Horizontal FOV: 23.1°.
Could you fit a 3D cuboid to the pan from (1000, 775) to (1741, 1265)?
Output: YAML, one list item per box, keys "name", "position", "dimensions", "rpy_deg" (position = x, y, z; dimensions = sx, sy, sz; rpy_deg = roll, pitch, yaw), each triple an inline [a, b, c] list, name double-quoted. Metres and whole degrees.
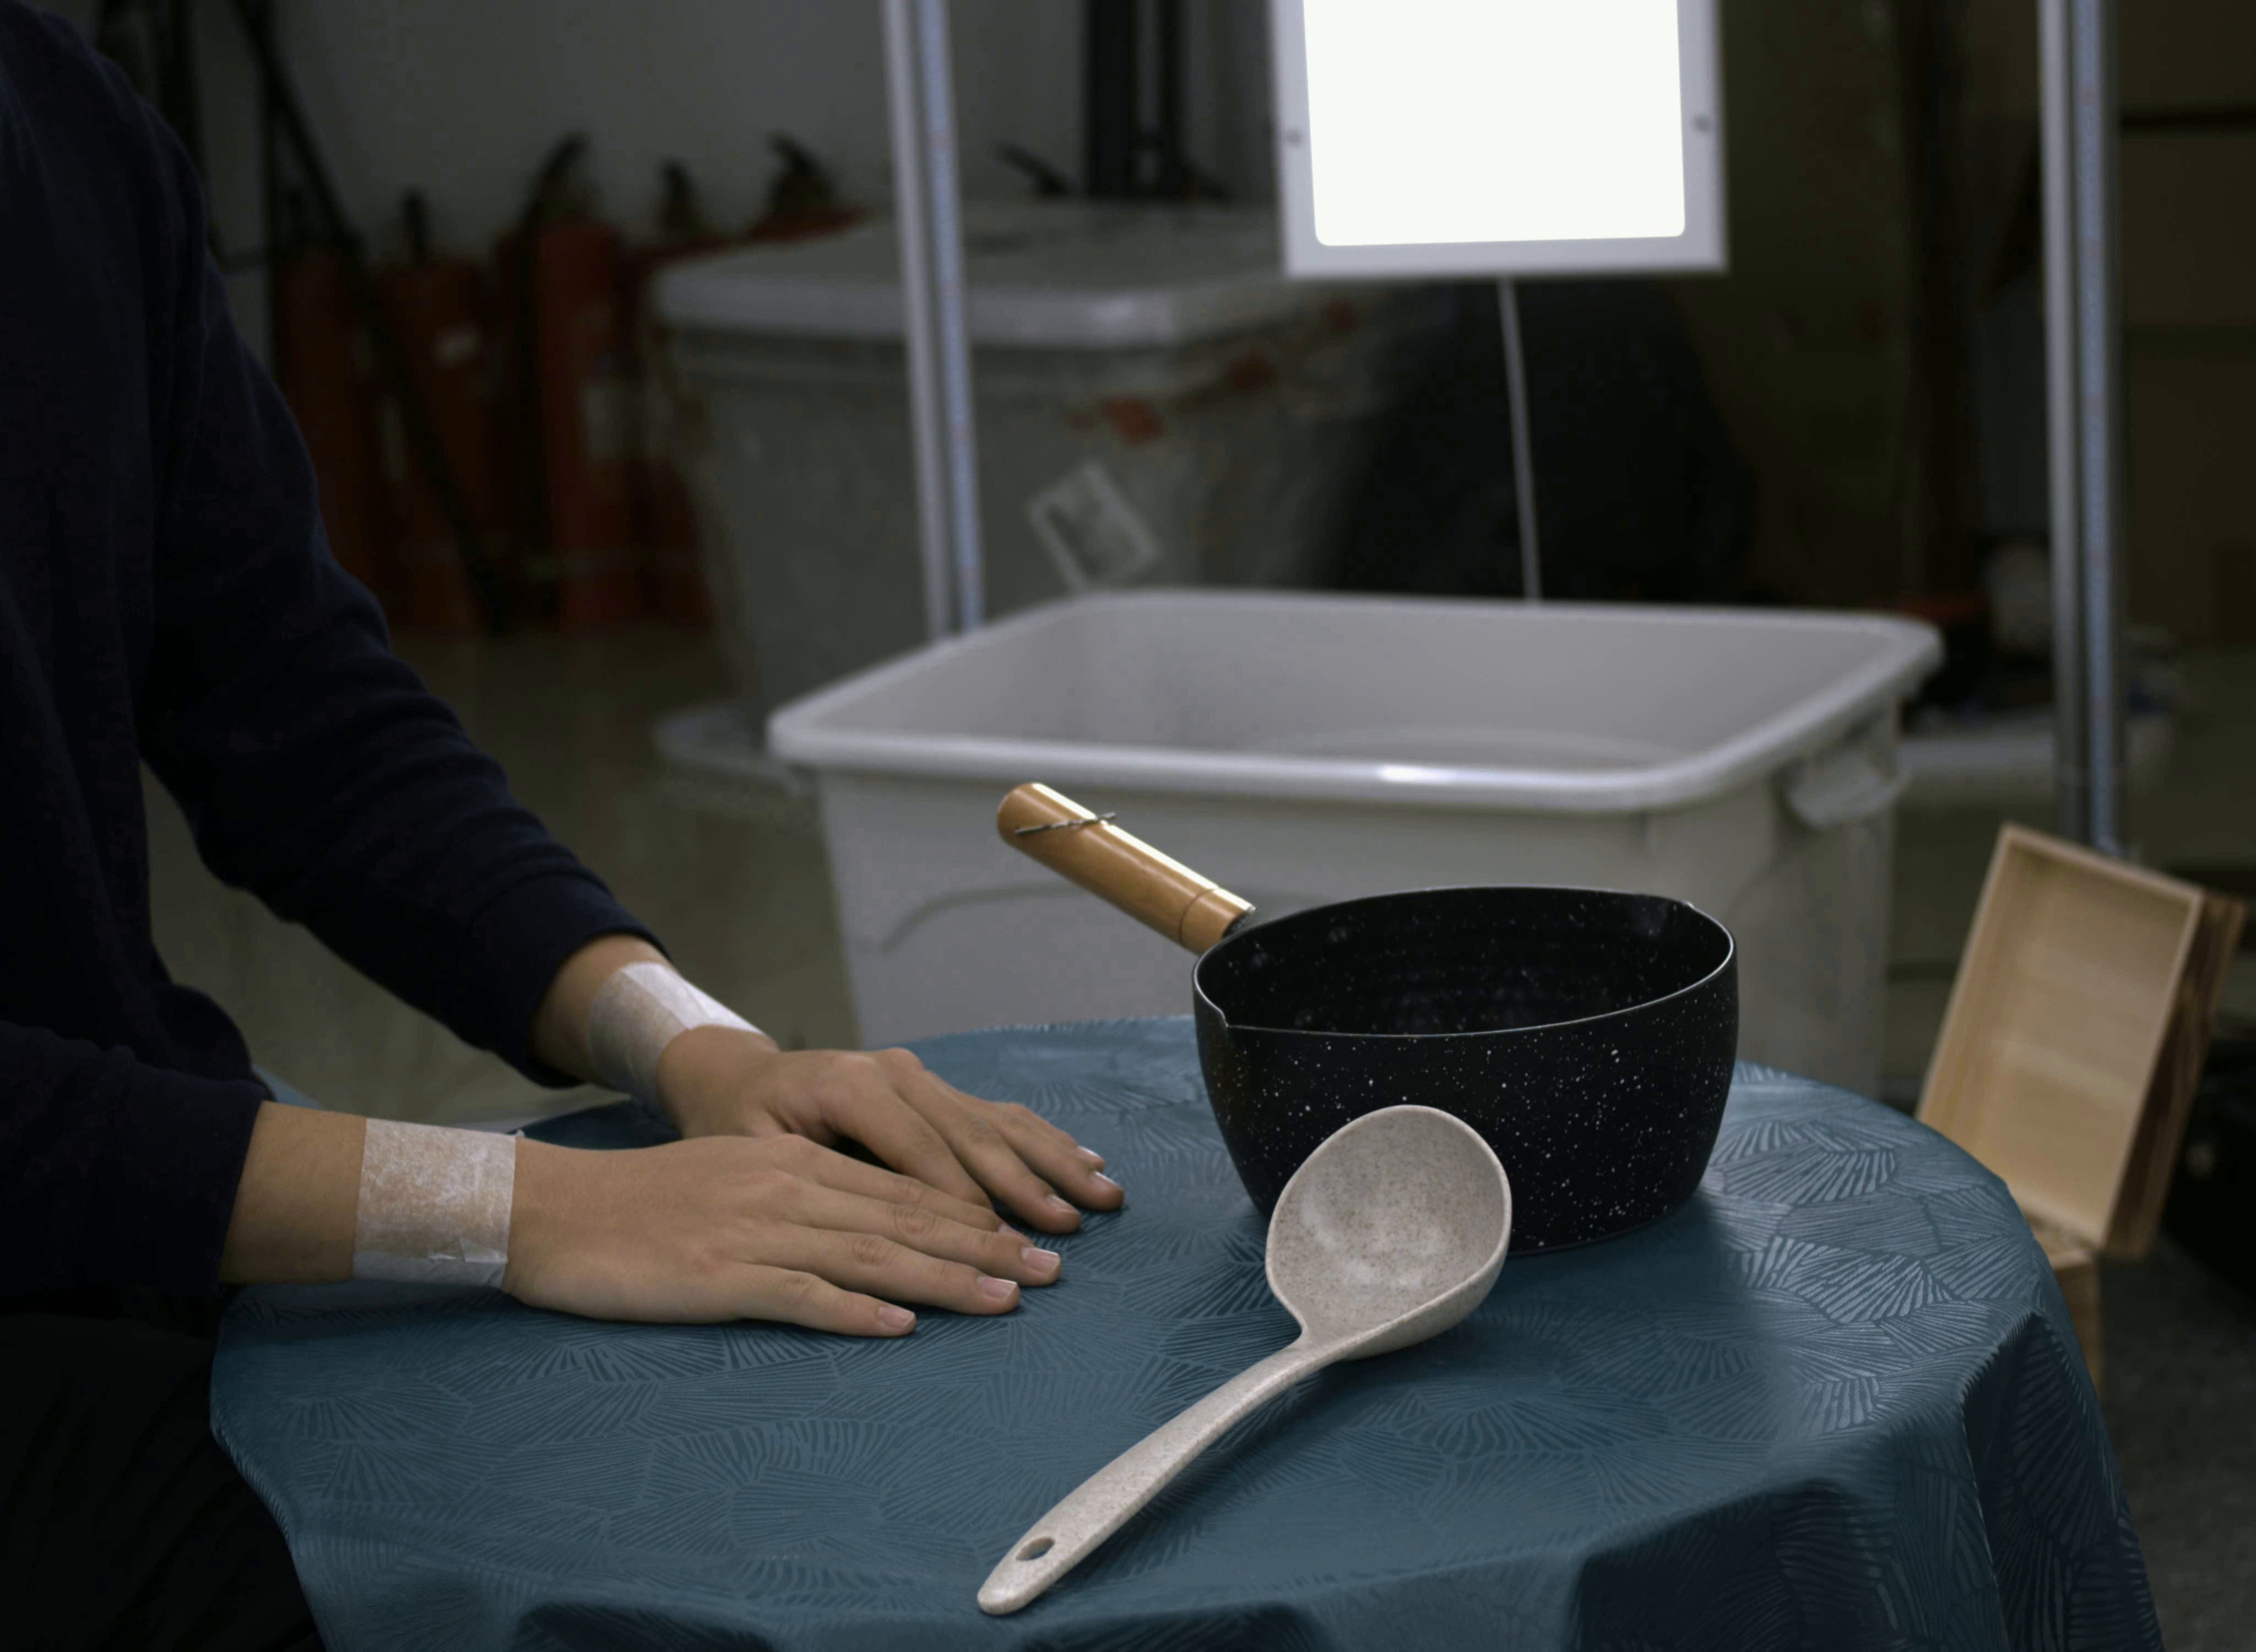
- name: "pan"
  position: [0.065, 0.061, 1.912]
  dimensions: [0.202, 0.108, 0.350]
  rpy_deg: [-17, 19, -35]

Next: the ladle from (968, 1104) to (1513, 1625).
- name: "ladle"
  position: [0.025, 0.155, 1.636]
  dimensions: [0.091, 0.069, 0.268]
  rpy_deg: [-2, 14, 34]
